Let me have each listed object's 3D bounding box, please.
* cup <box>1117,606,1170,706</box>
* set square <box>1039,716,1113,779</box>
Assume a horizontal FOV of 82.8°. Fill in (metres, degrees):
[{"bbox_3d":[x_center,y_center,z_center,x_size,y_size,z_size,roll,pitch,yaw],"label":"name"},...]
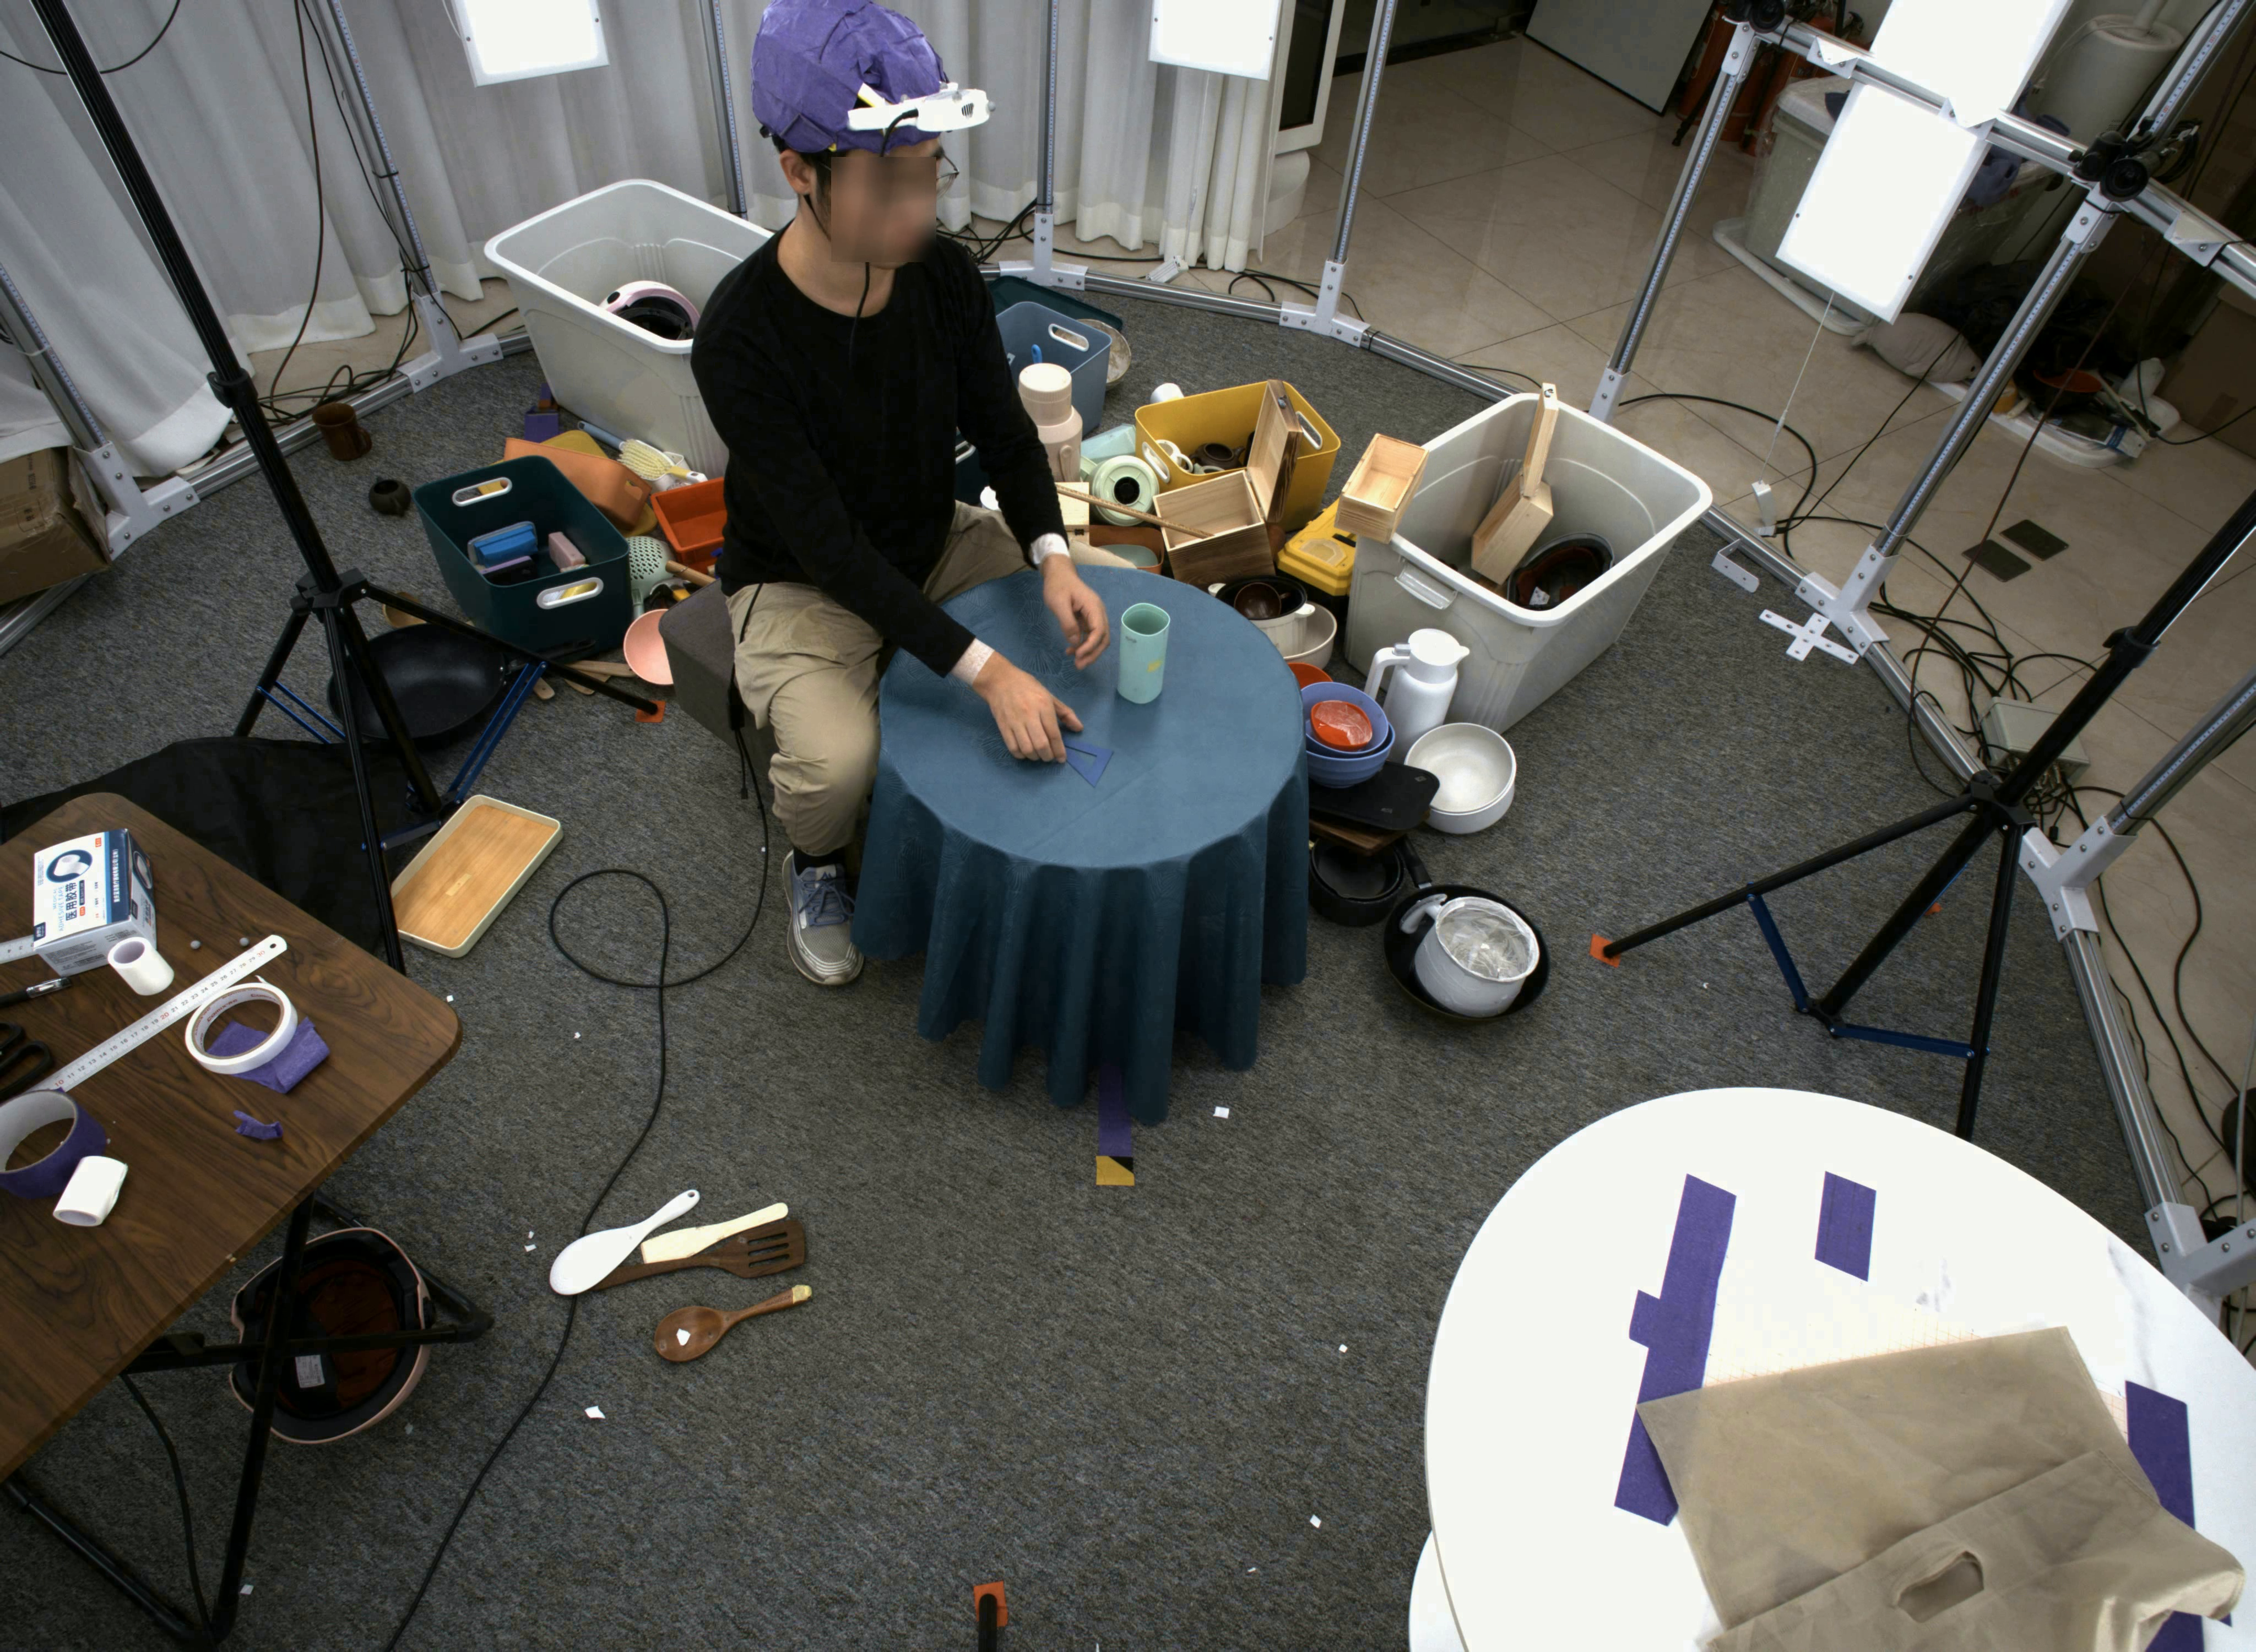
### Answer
[{"bbox_3d":[0.019,-0.239,1.799,0.066,0.129,0.068,2,50,-3],"label":"cup"},{"bbox_3d":[-0.066,-0.119,1.765,0.061,0.006,0.134,-28,56,-21],"label":"set square"}]
